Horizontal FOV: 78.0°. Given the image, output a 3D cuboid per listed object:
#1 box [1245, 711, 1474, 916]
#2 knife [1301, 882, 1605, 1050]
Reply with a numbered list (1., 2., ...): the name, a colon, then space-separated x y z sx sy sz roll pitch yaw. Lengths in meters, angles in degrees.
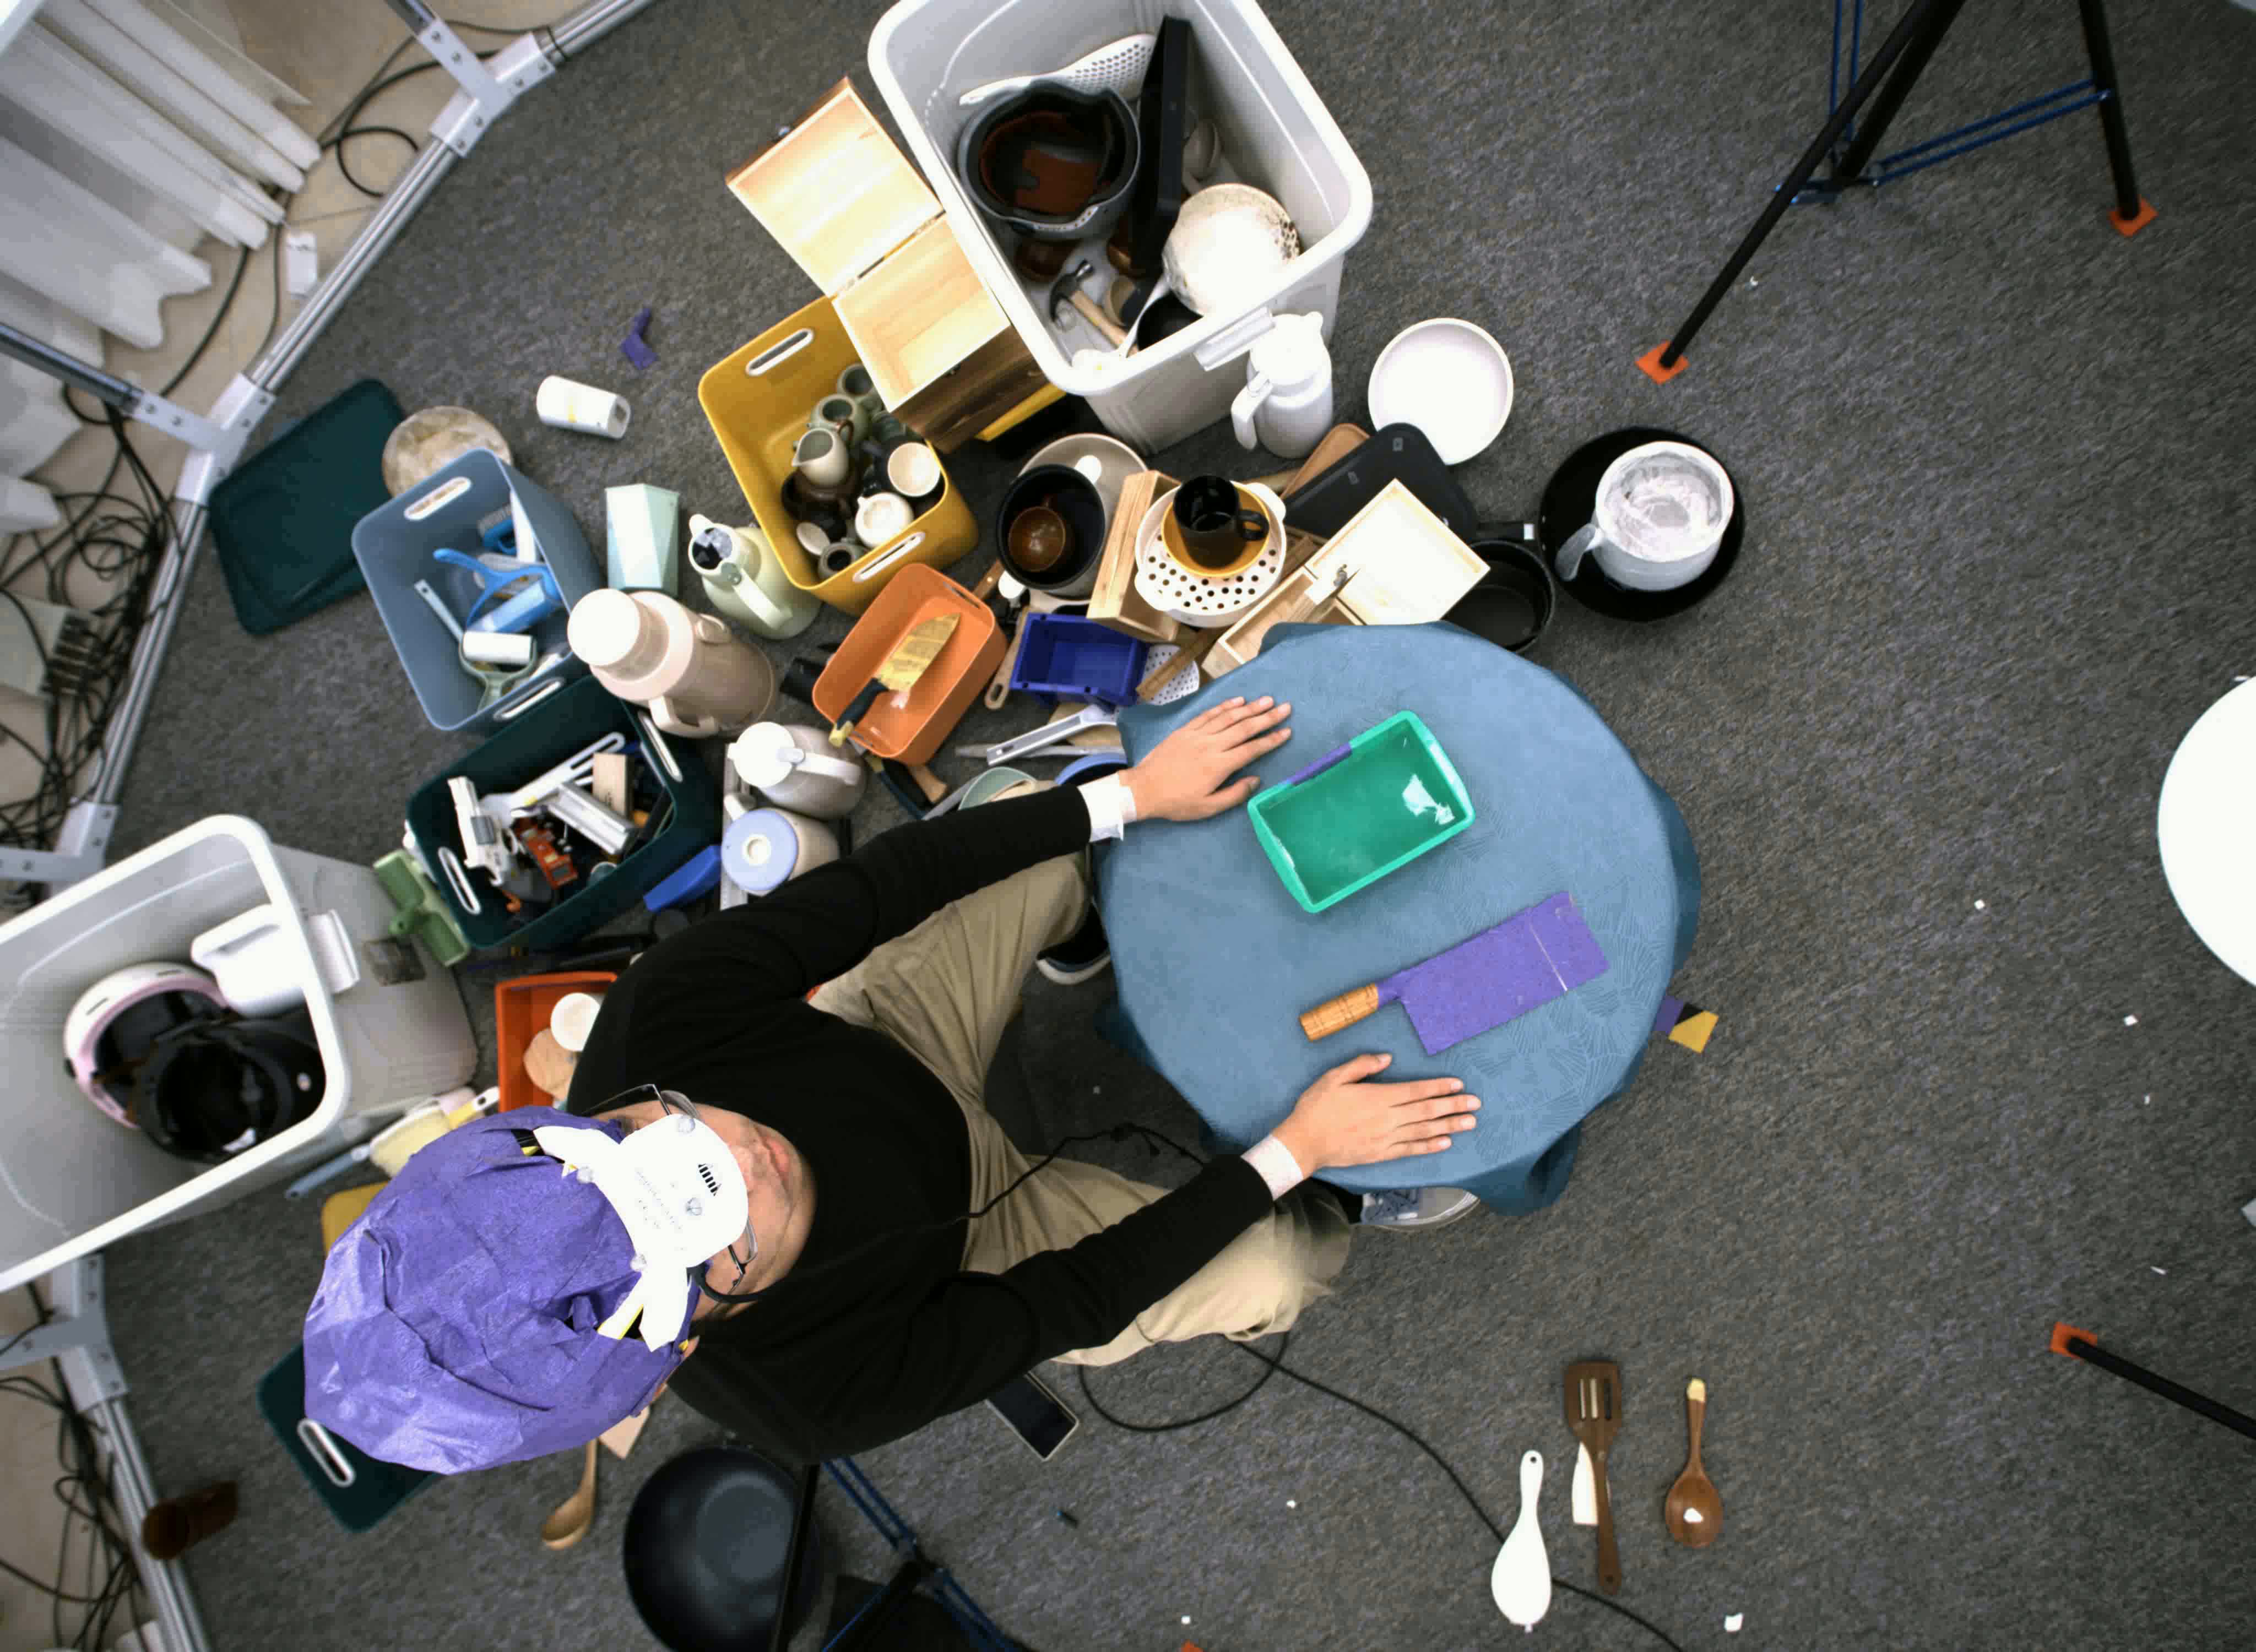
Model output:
1. box: 0.241 -0.011 1.439 0.212 0.065 0.137 -32 80 9
2. knife: 0.338 0.170 1.429 0.317 0.032 0.103 -28 82 7
